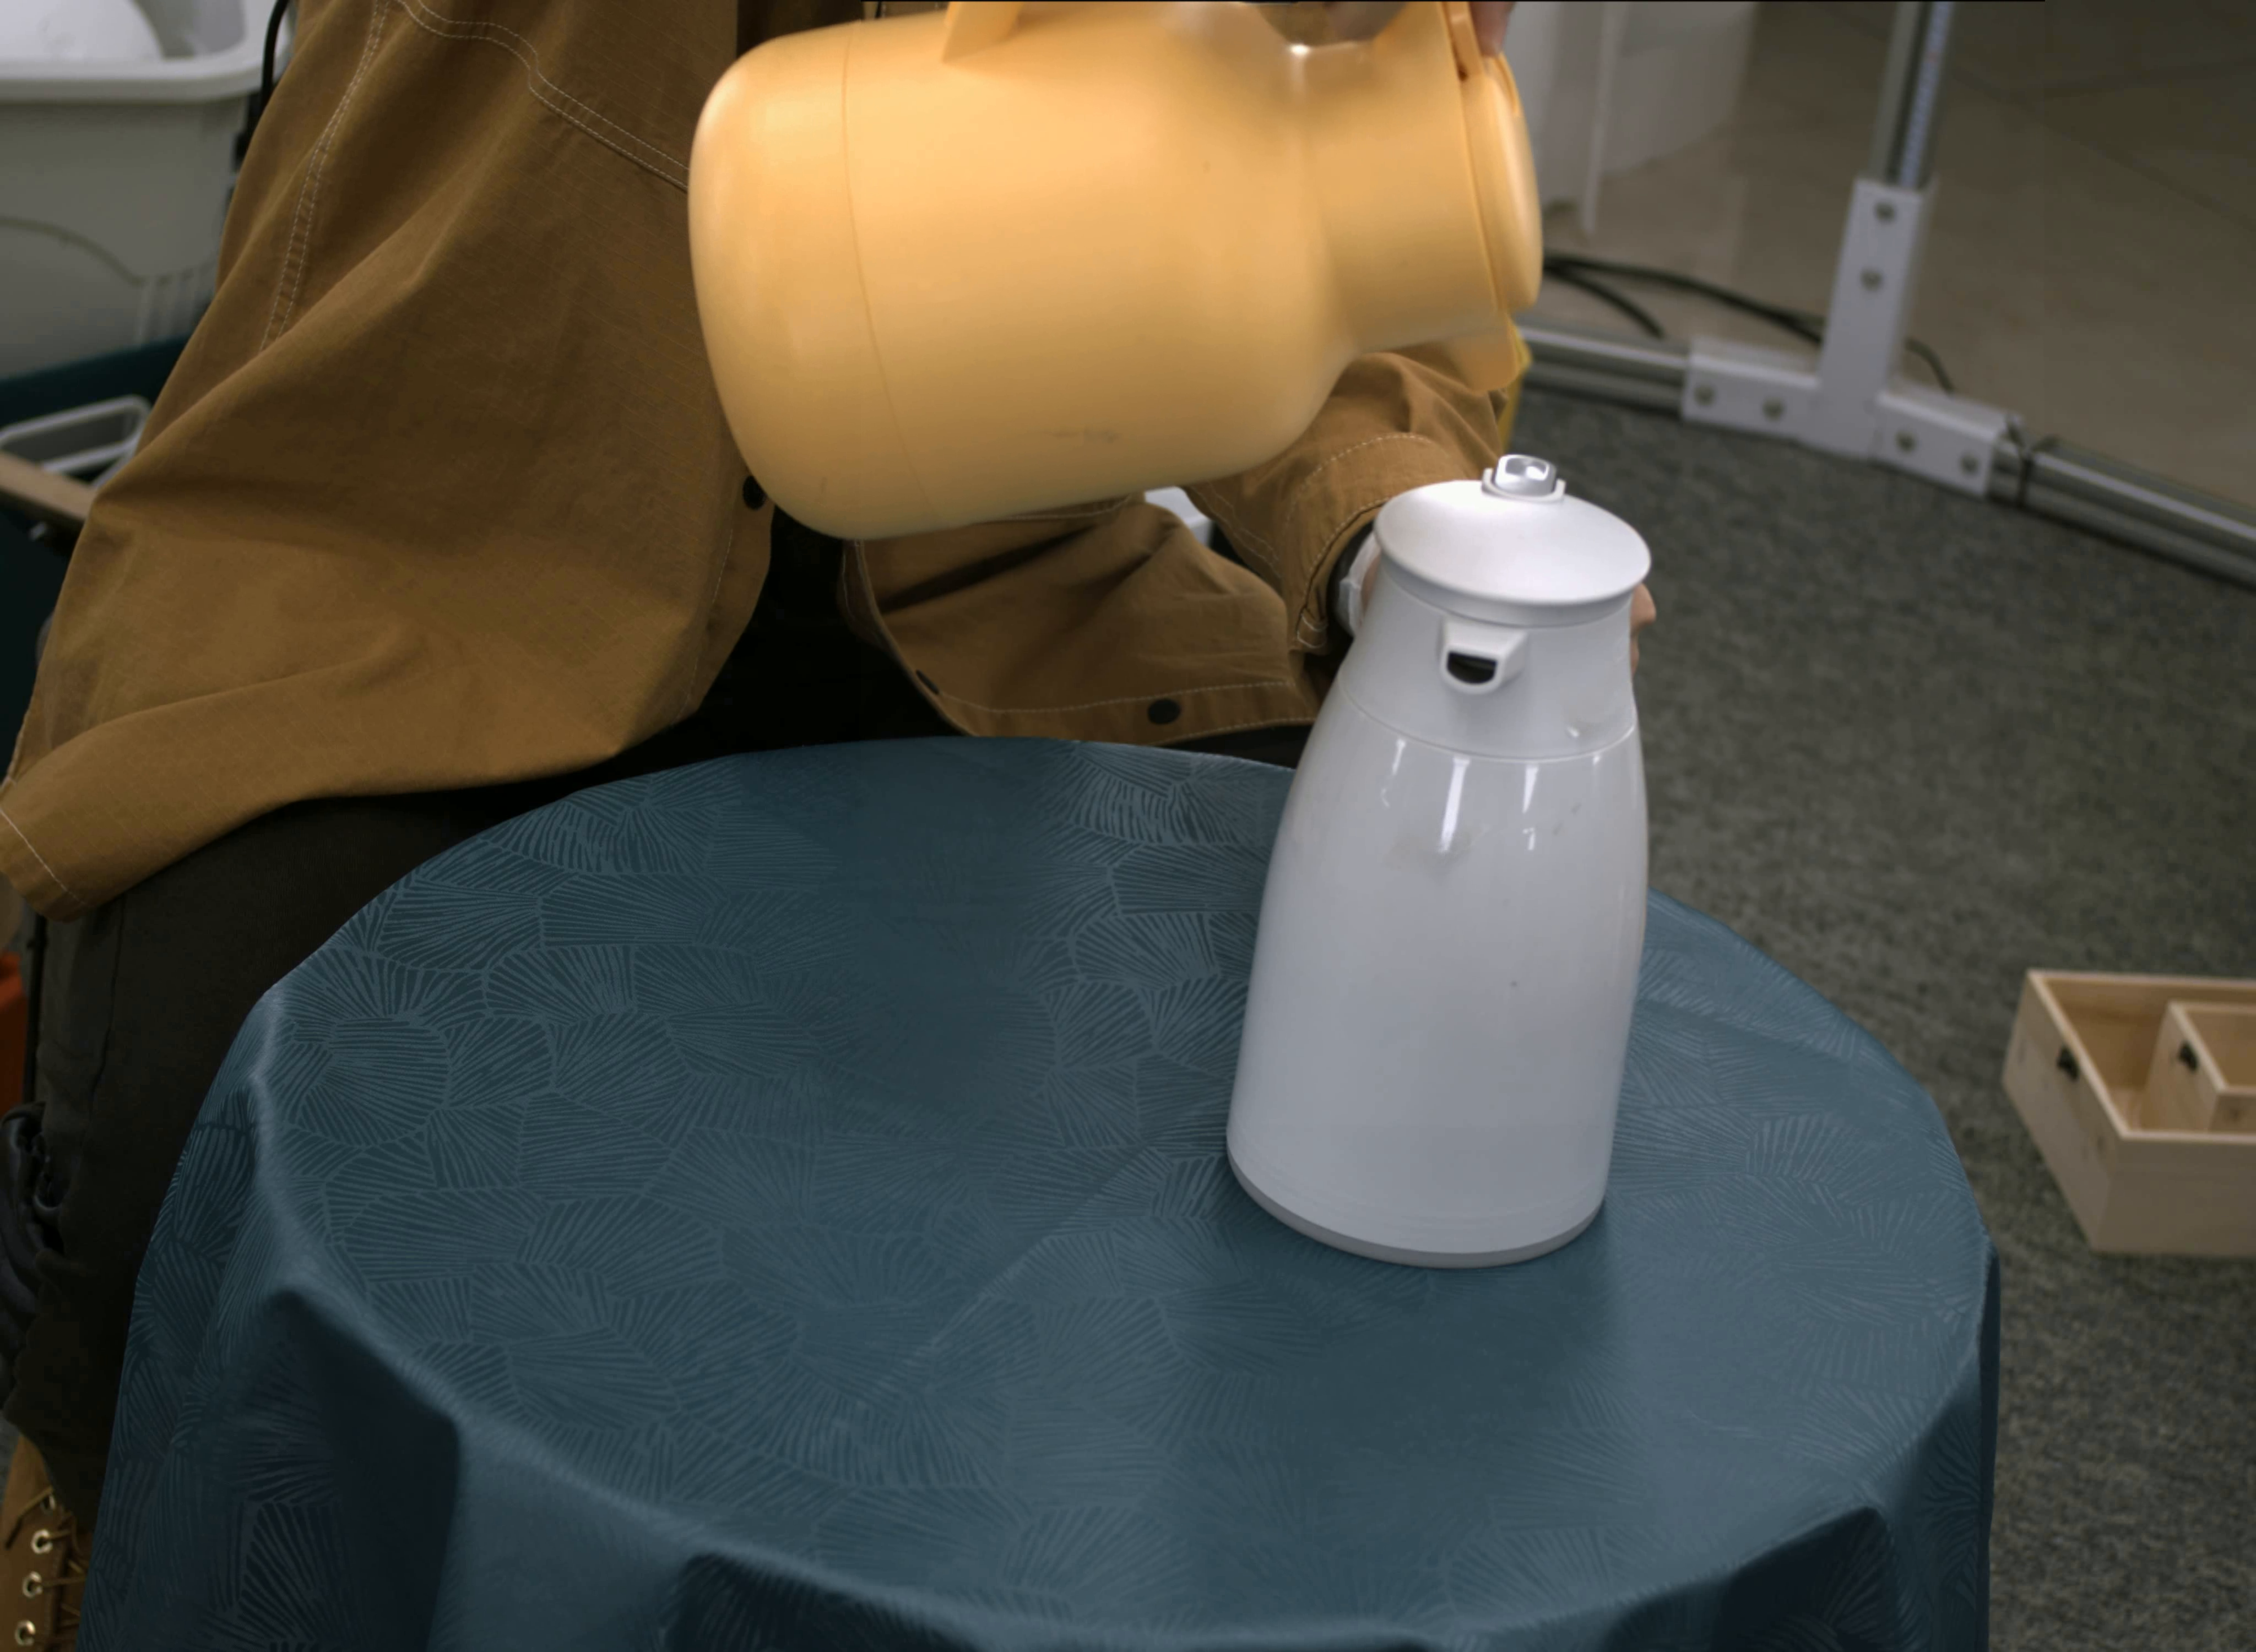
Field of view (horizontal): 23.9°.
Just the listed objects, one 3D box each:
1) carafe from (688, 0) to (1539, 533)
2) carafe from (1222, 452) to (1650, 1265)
[{"bbox_3d":[-0.005,-0.205,1.673,0.260,0.201,0.164,-9,32,7],"label":"carafe"},{"bbox_3d":[0.115,0.000,1.800,0.132,0.248,0.168,11,26,9],"label":"carafe"}]
